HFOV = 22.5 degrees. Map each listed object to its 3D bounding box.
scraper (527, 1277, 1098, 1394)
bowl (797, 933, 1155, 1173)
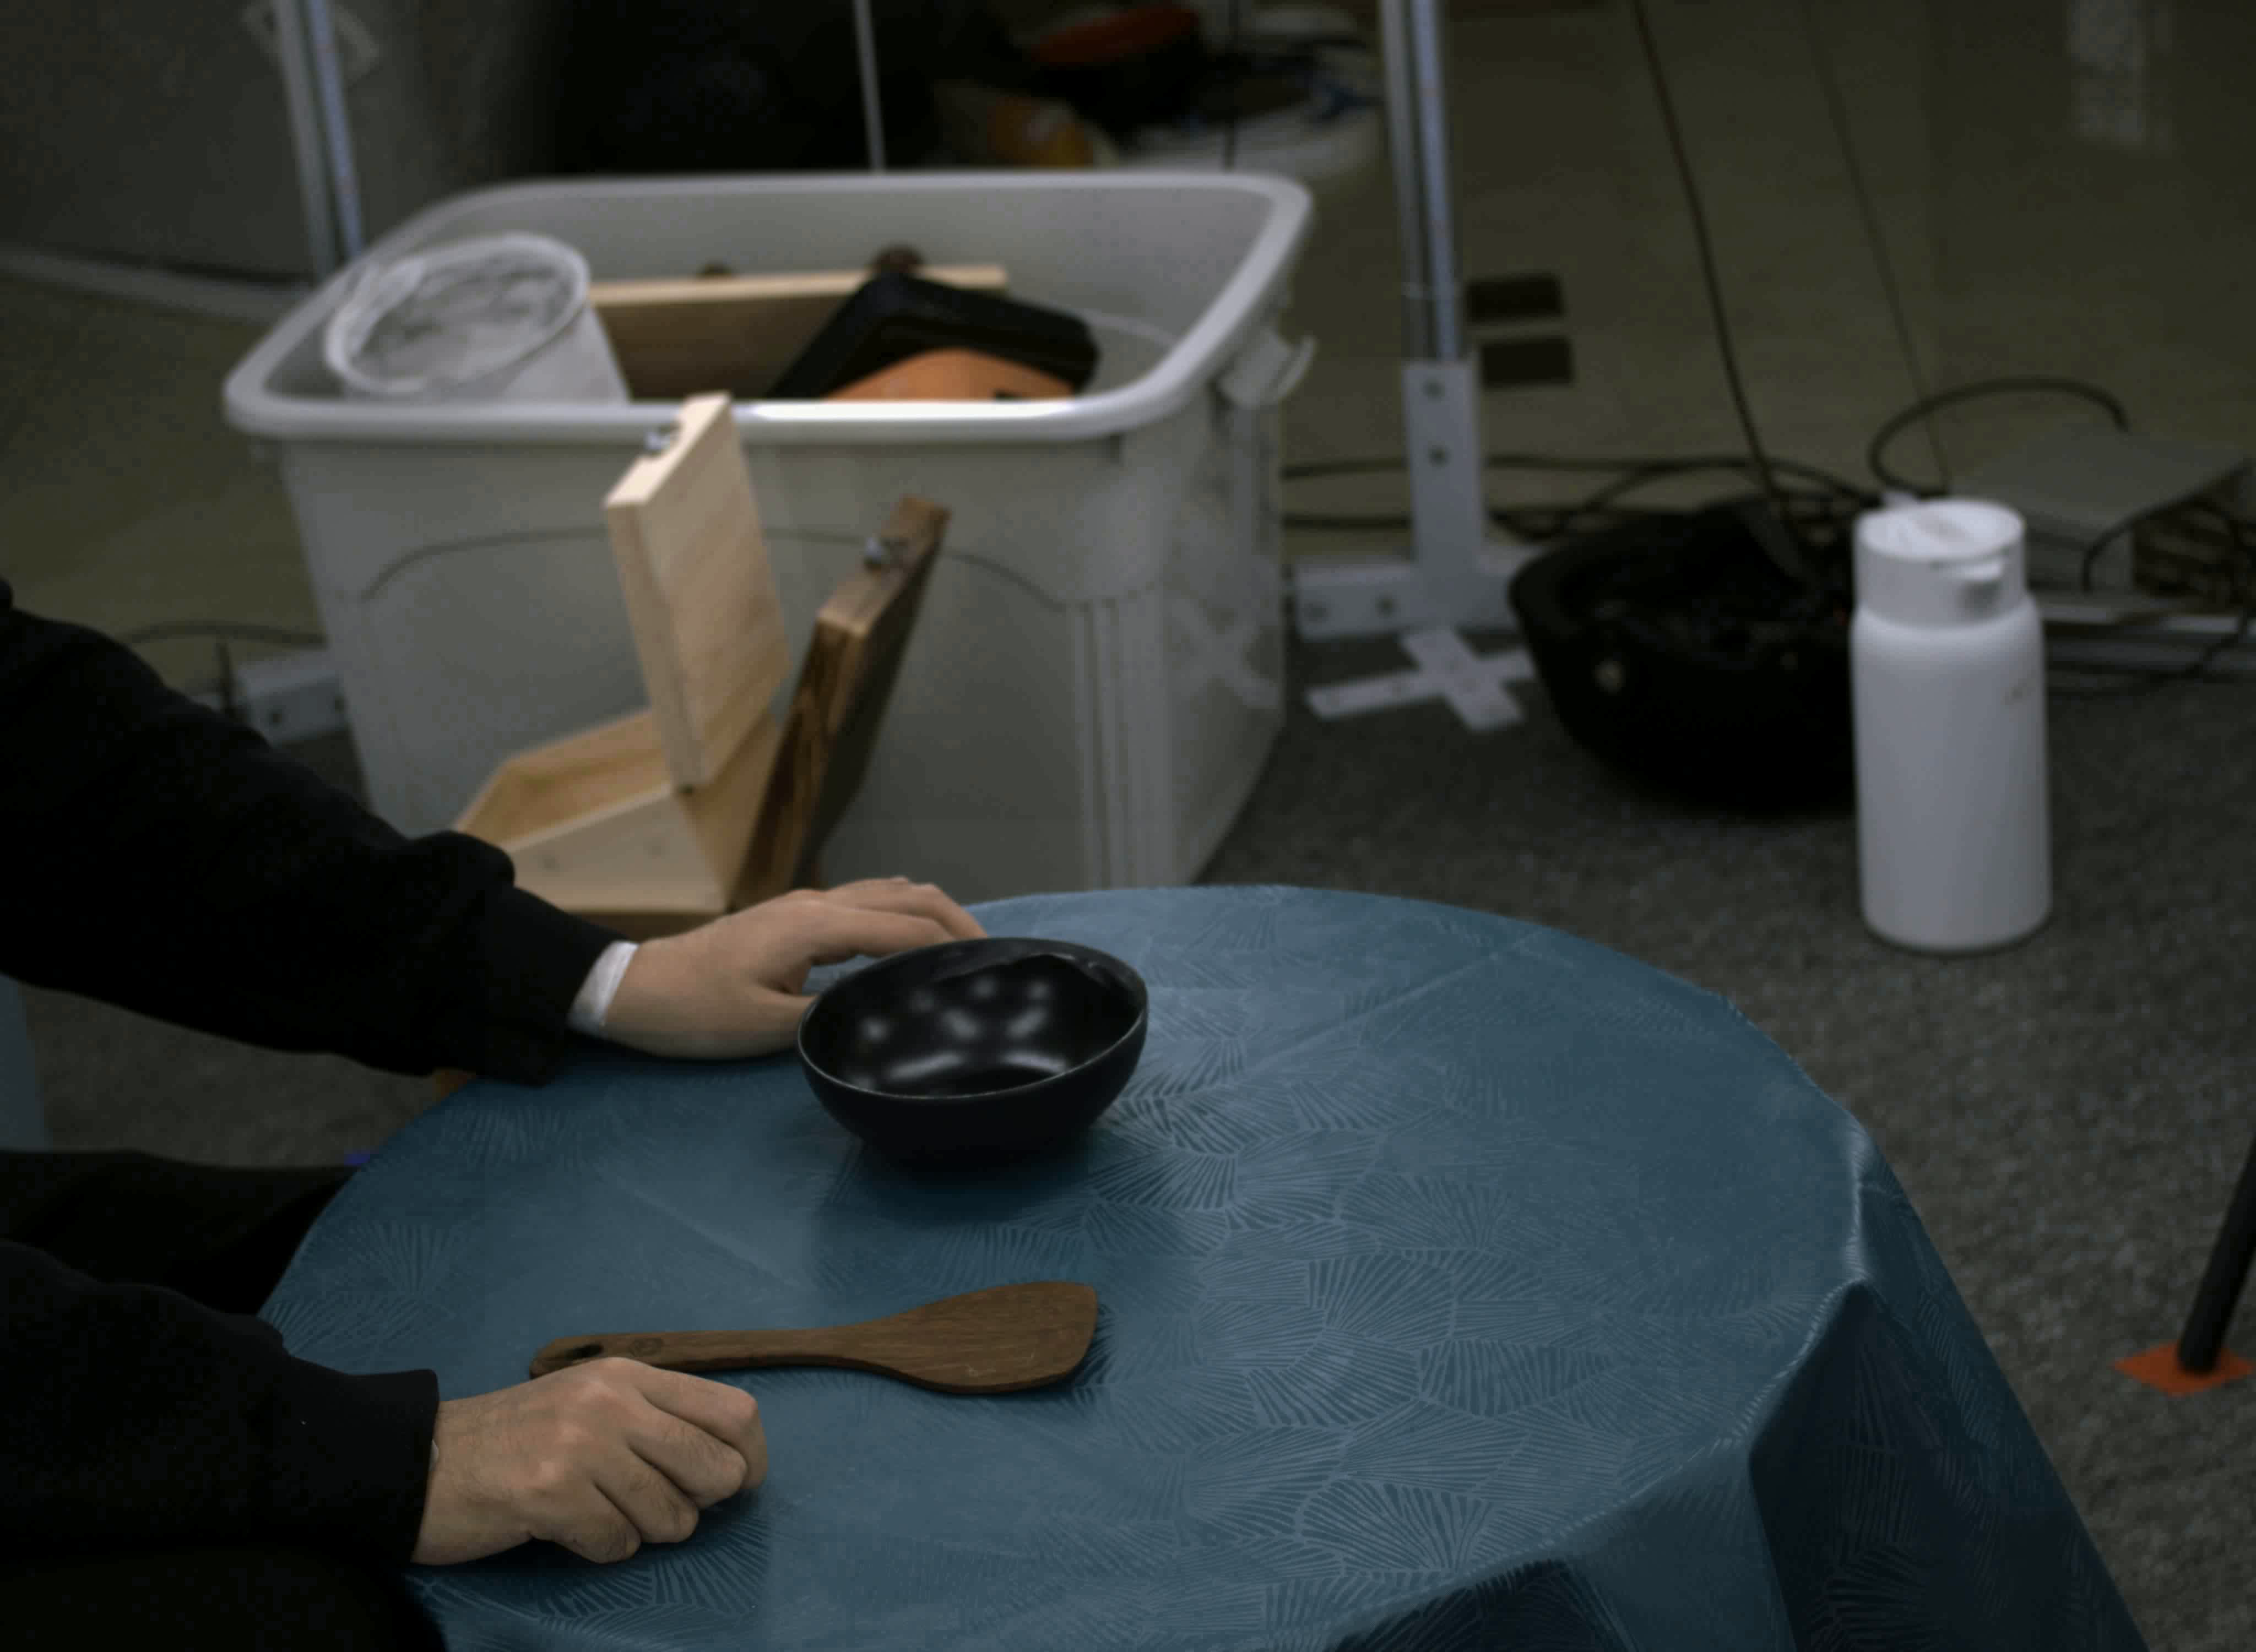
[{"bbox_3d":[-0.115,0.190,2.063,0.211,0.011,0.075,-4,23,8],"label":"scraper"},{"bbox_3d":[-0.057,0.096,2.204,0.140,0.050,0.138,-6,28,3],"label":"bowl"}]
